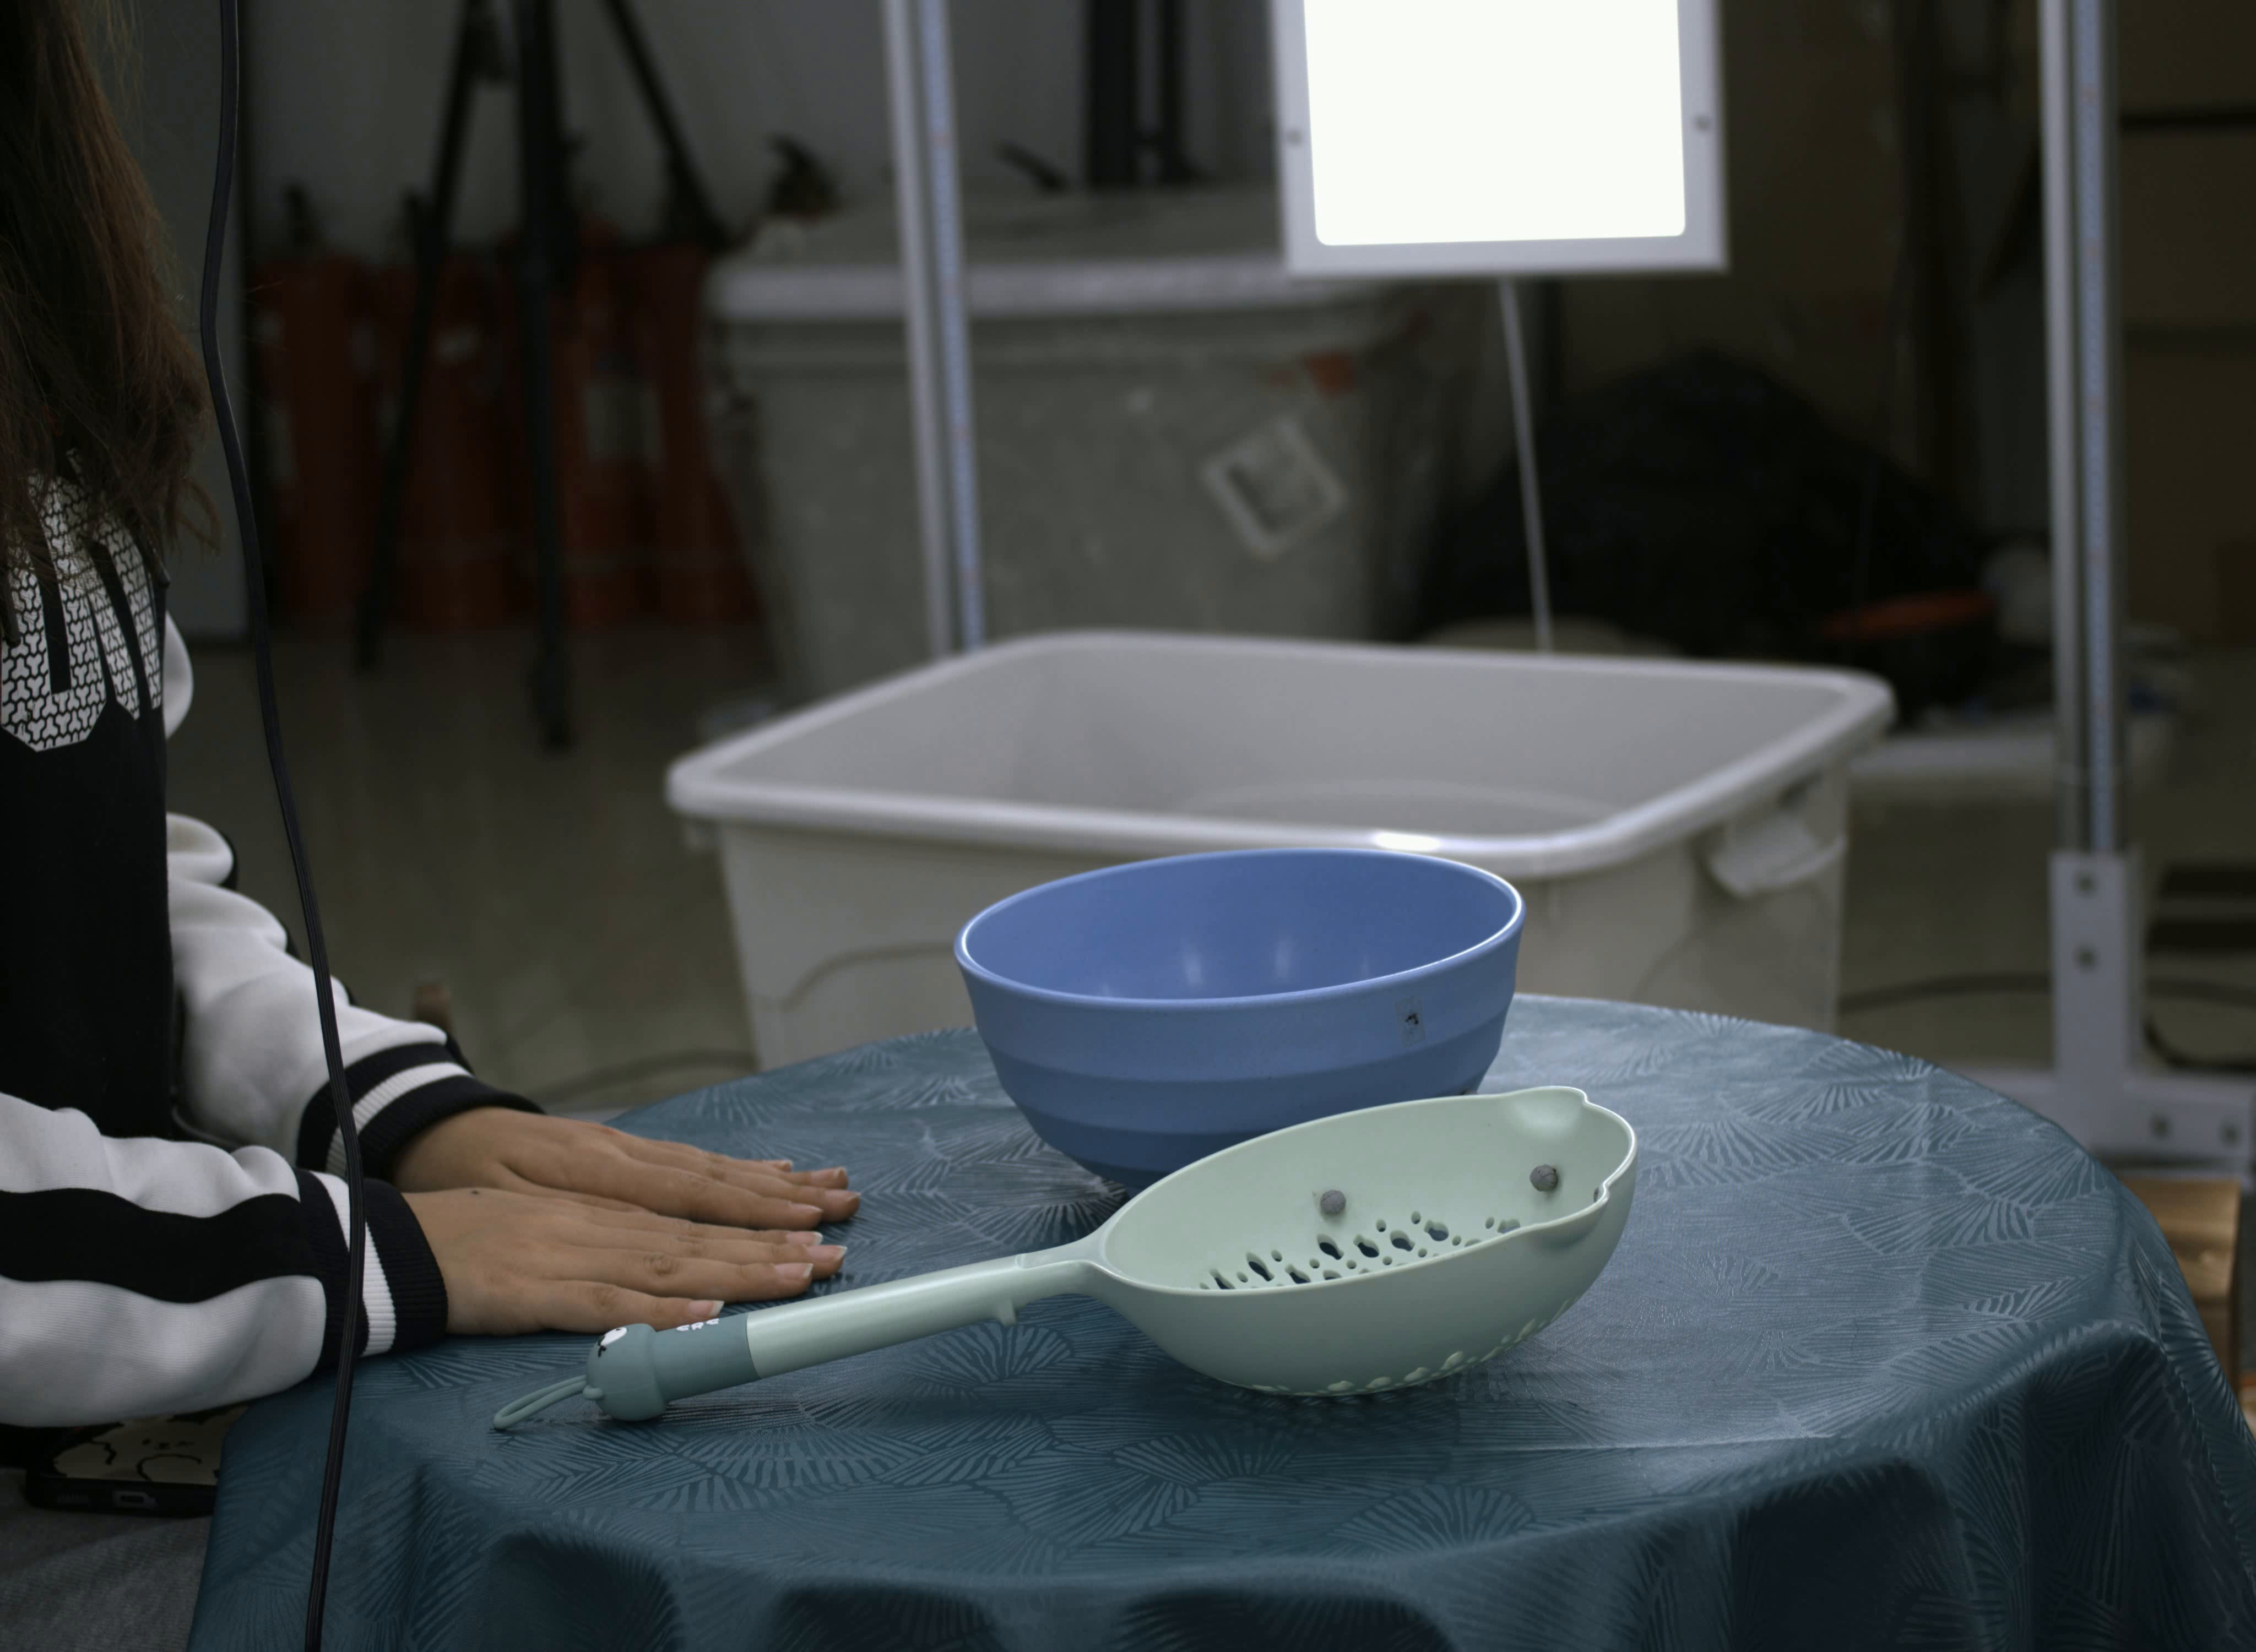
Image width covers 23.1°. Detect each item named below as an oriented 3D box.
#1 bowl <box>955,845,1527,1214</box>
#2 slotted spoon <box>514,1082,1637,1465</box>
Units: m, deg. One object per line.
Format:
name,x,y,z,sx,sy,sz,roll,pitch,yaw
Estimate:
bowl,0.042,0.078,1.885,0.196,0.096,0.196,-5,14,0
slotted spoon,-0.018,0.146,1.704,0.359,0.075,0.168,-6,12,5
